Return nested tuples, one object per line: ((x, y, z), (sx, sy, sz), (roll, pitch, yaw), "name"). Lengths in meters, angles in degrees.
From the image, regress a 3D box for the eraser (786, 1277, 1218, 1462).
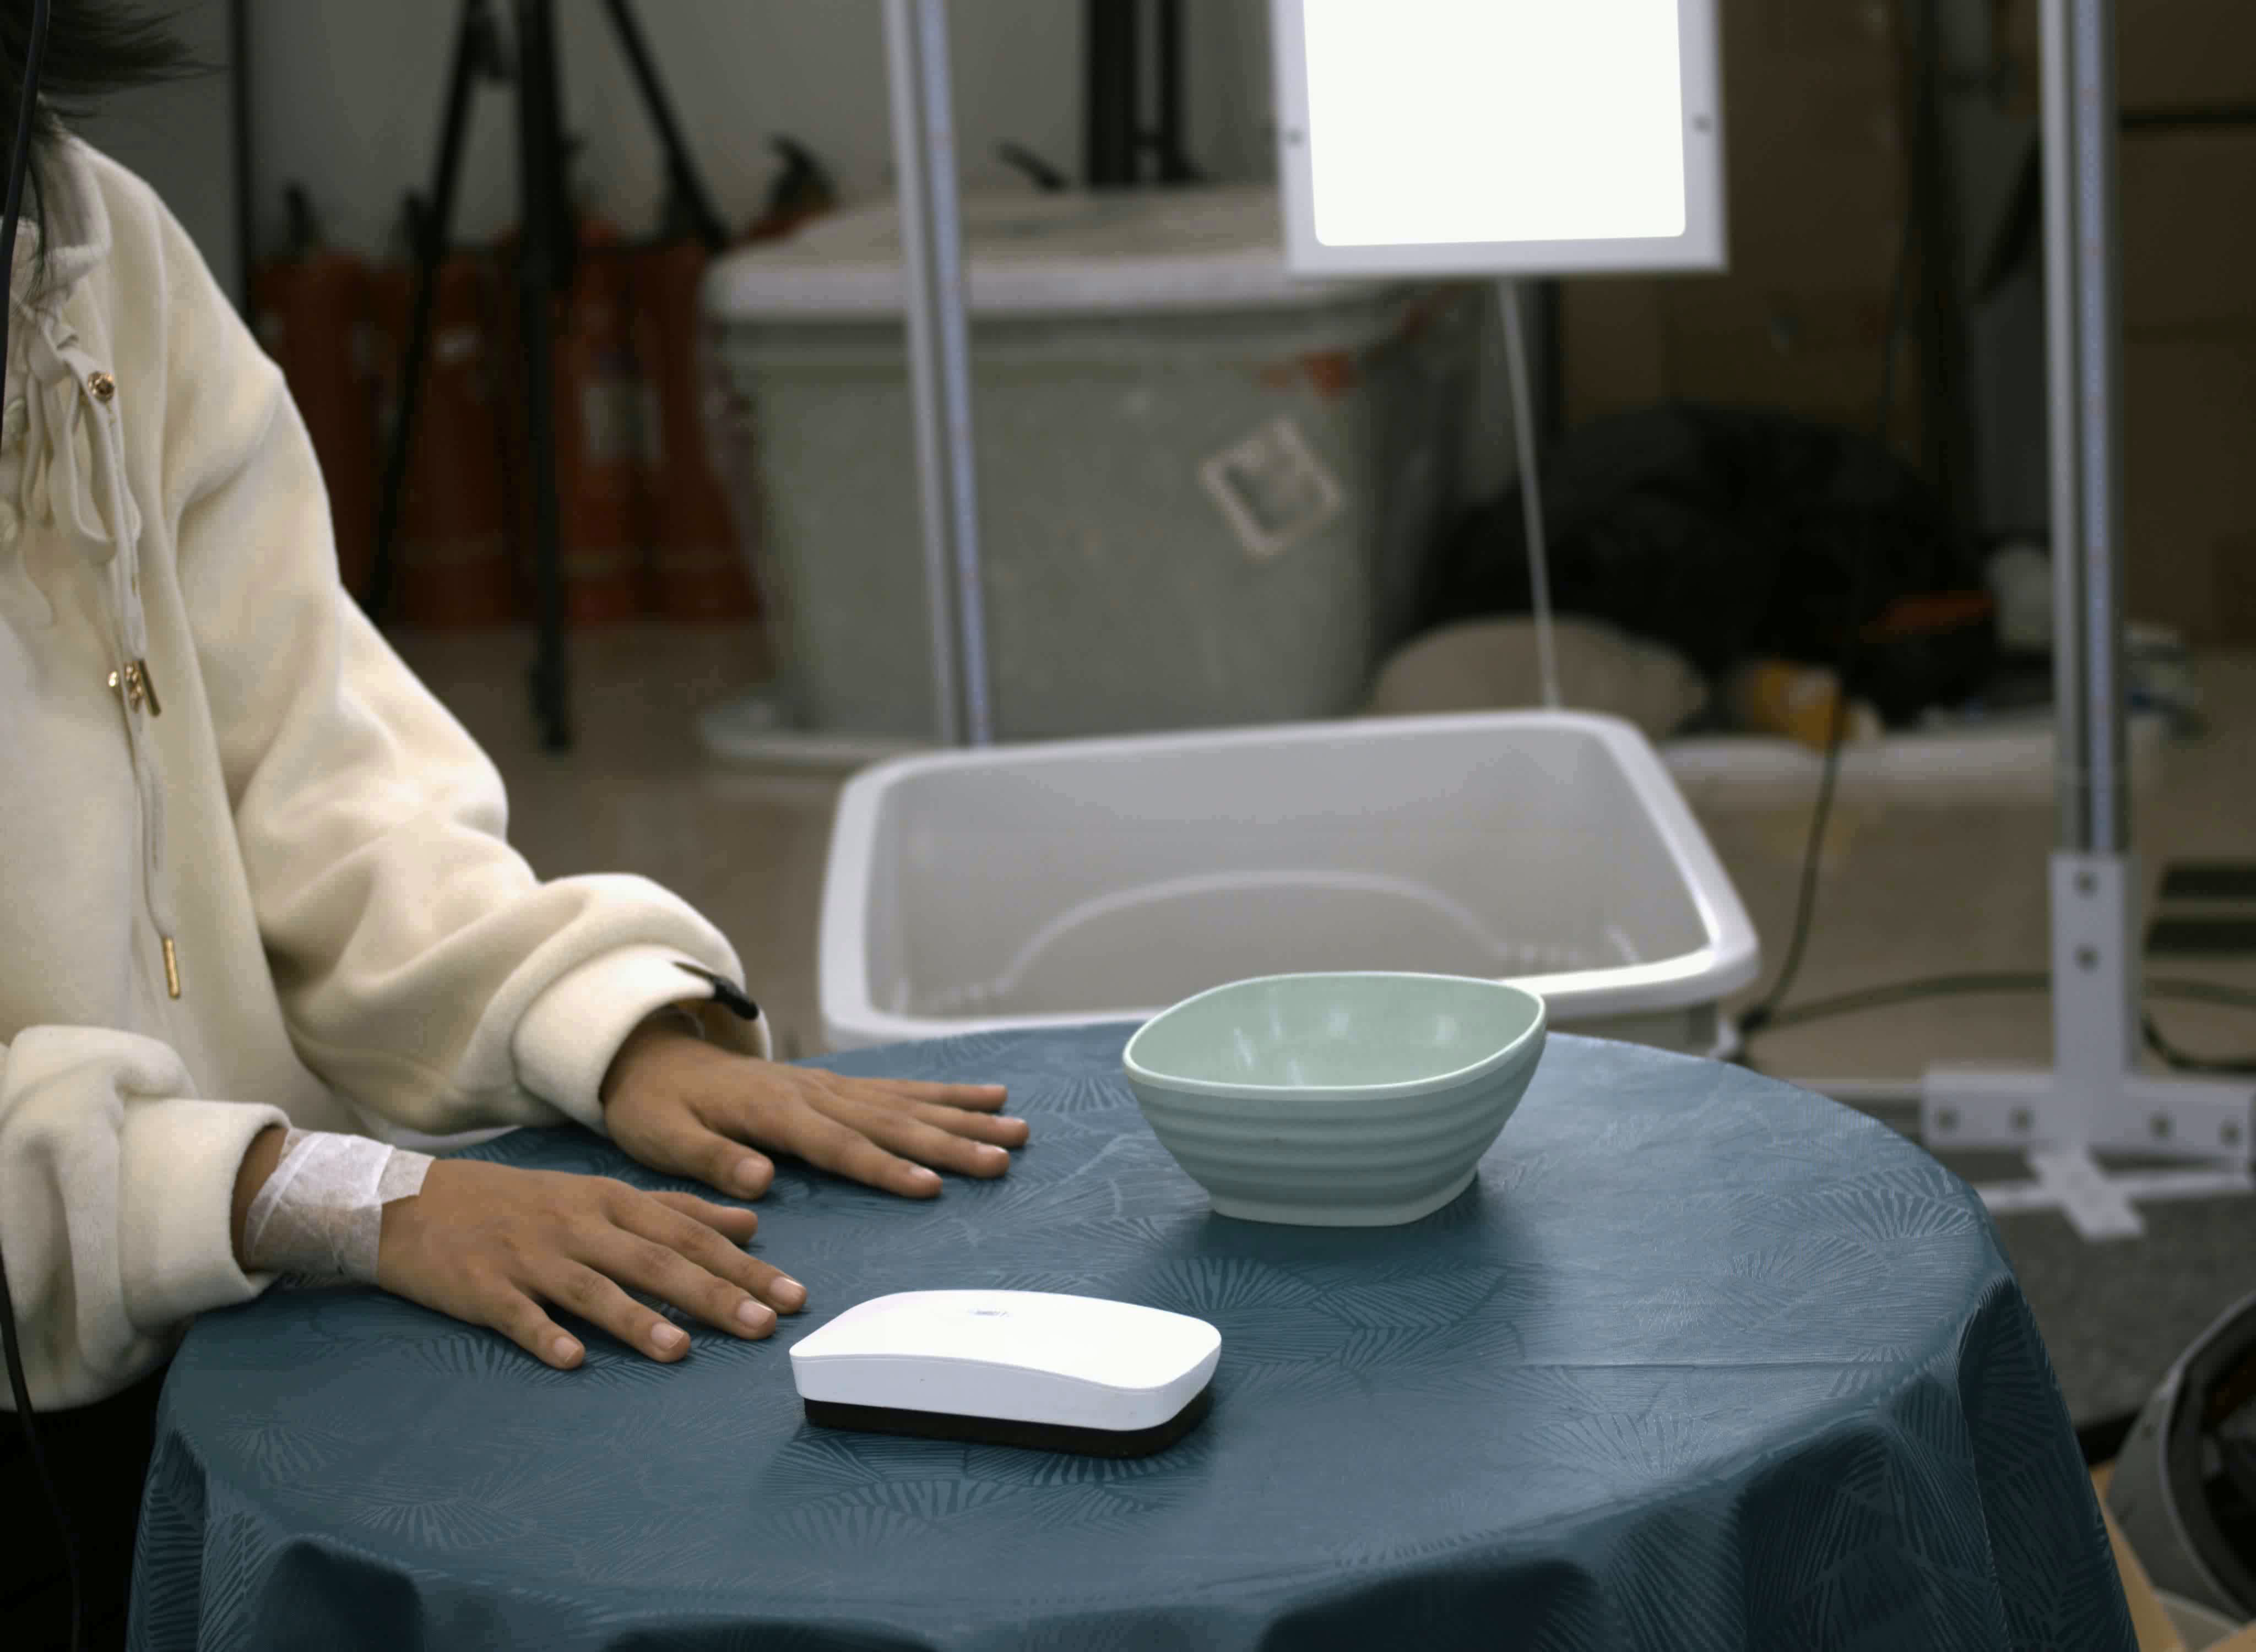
((-0.038, 0.166, 1.688), (0.133, 0.034, 0.062), (3, 16, 29), "eraser")

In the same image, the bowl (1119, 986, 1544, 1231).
((0.072, 0.098, 1.872), (0.151, 0.059, 0.151), (-5, 12, 0), "bowl")
